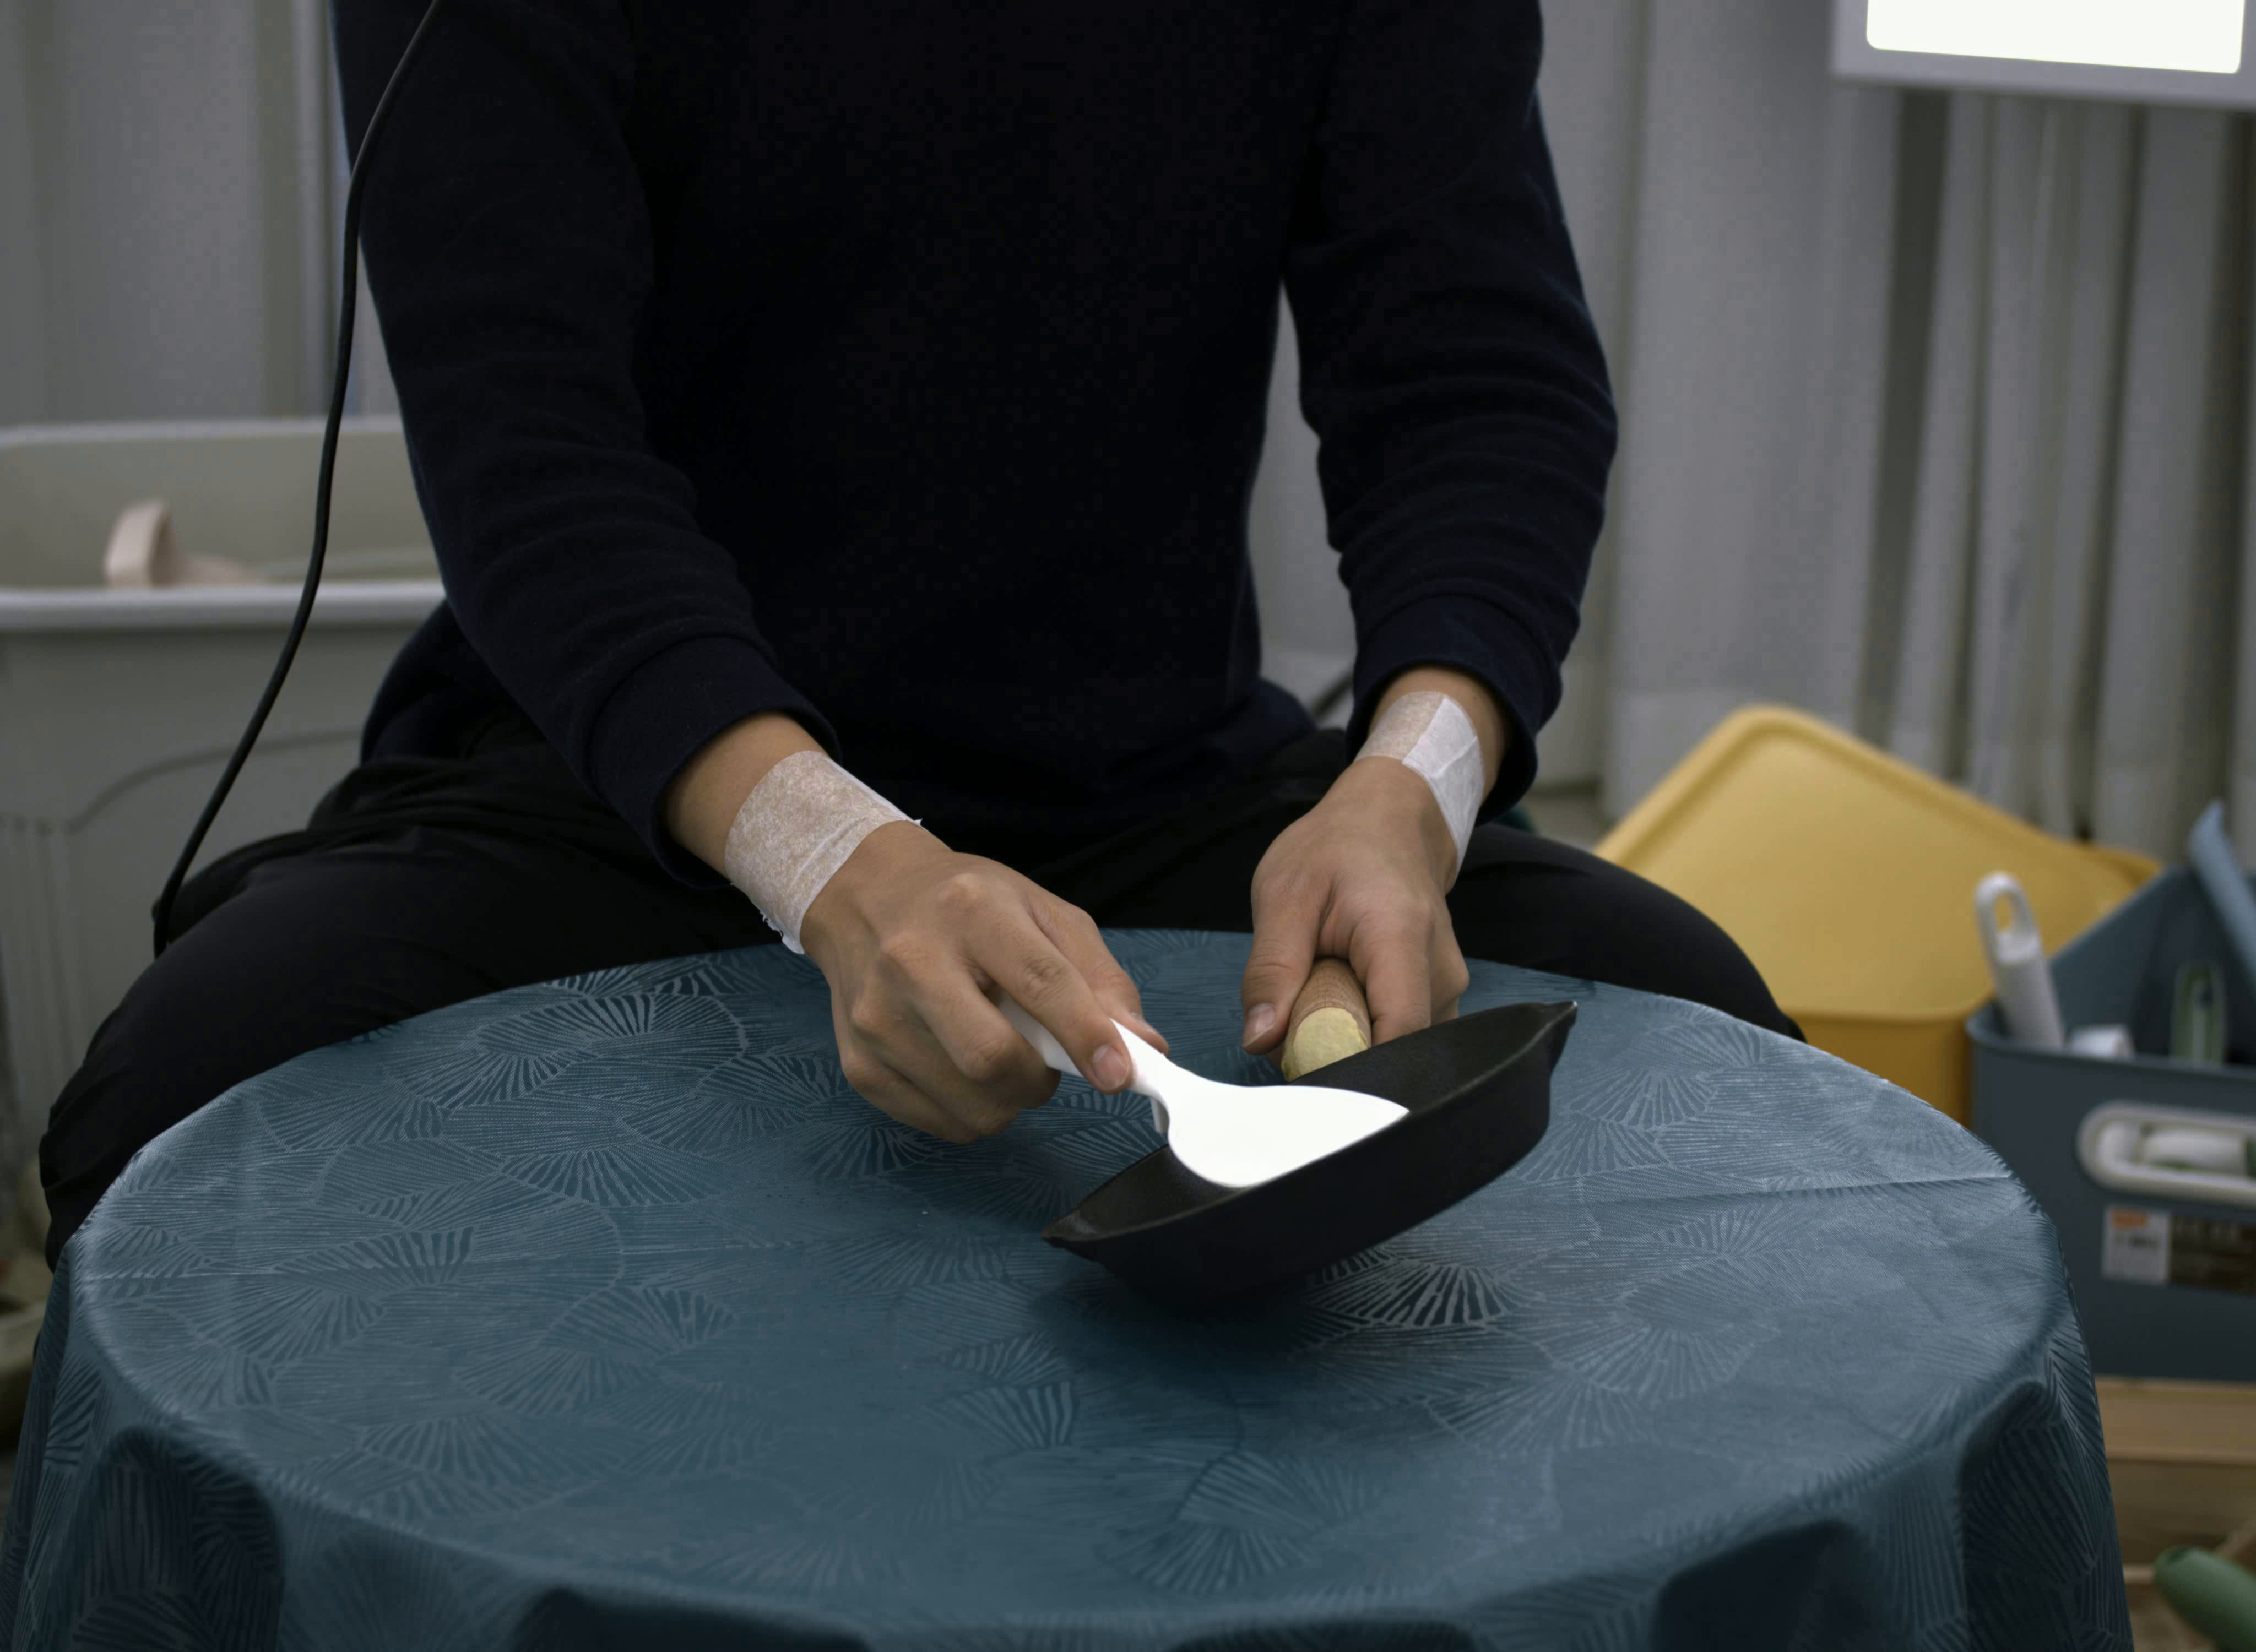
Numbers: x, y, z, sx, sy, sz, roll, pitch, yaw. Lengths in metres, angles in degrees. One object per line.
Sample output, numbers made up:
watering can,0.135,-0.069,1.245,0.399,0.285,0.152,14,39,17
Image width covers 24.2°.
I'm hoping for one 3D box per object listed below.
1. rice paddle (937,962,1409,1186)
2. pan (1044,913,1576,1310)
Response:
rice paddle,0.017,0.078,1.562,0.069,0.030,0.202,-23,27,-34
pan,0.063,0.078,1.604,0.168,0.050,0.323,-23,6,9
